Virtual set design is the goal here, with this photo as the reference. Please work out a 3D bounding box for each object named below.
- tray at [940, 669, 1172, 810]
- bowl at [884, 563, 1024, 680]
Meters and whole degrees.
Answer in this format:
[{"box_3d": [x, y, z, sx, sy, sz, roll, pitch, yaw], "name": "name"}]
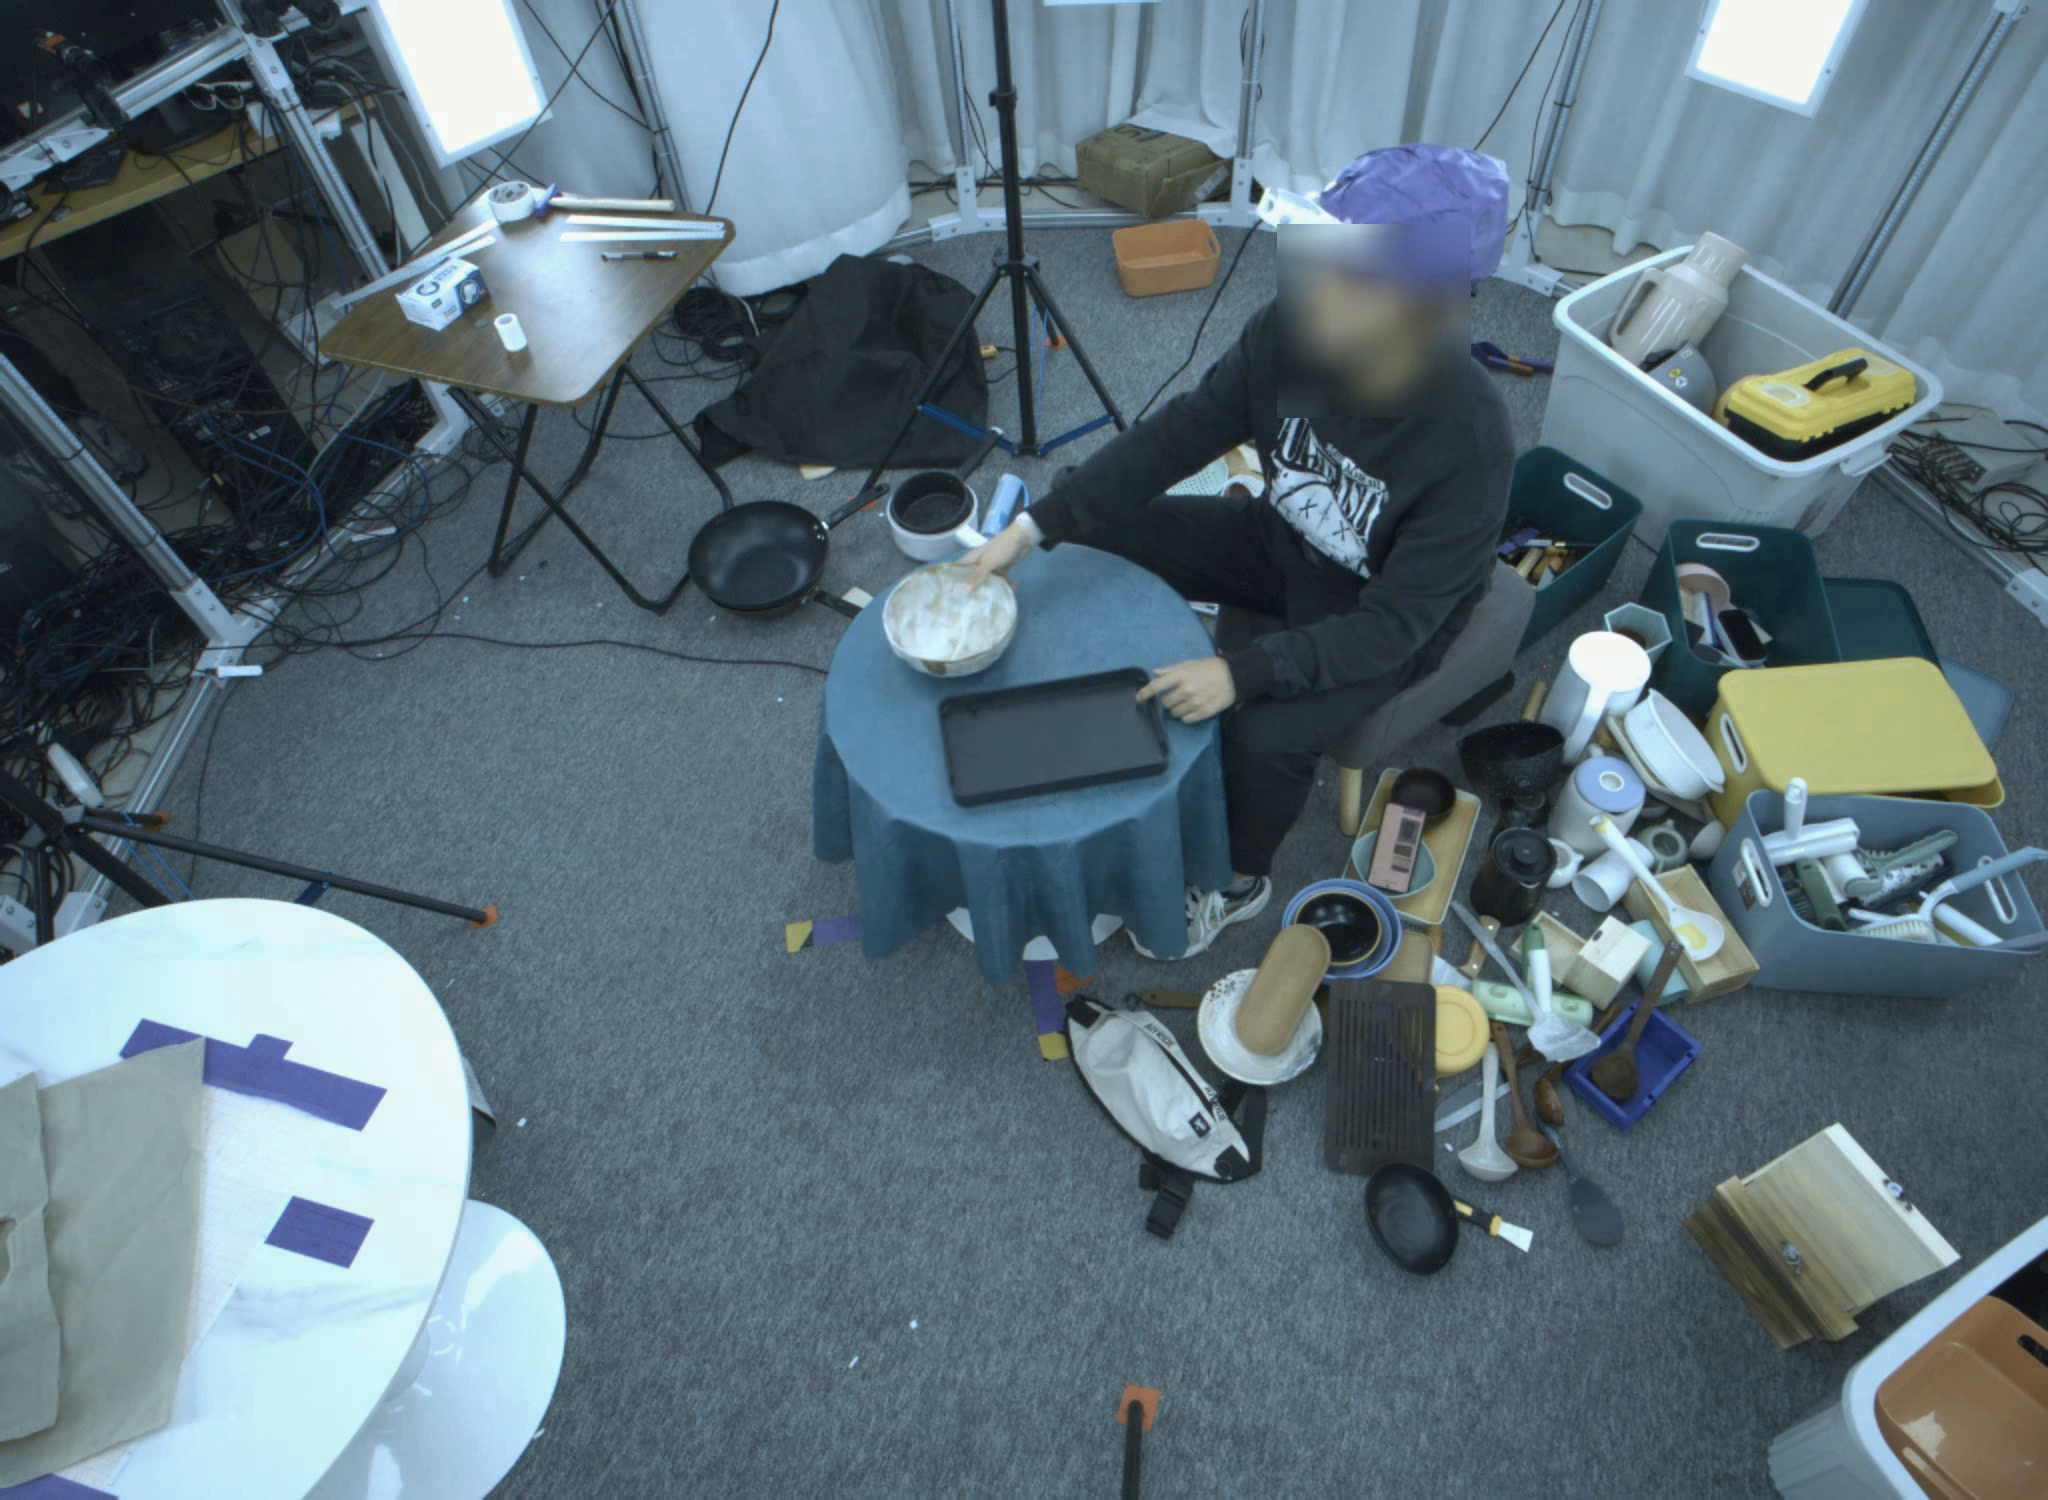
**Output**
[{"box_3d": [0.044, -0.017, 1.788, 0.319, 0.037, 0.182, -9, 55, -3], "name": "tray"}, {"box_3d": [-0.102, -0.179, 1.869, 0.214, 0.095, 0.212, -1, 55, 3], "name": "bowl"}]
